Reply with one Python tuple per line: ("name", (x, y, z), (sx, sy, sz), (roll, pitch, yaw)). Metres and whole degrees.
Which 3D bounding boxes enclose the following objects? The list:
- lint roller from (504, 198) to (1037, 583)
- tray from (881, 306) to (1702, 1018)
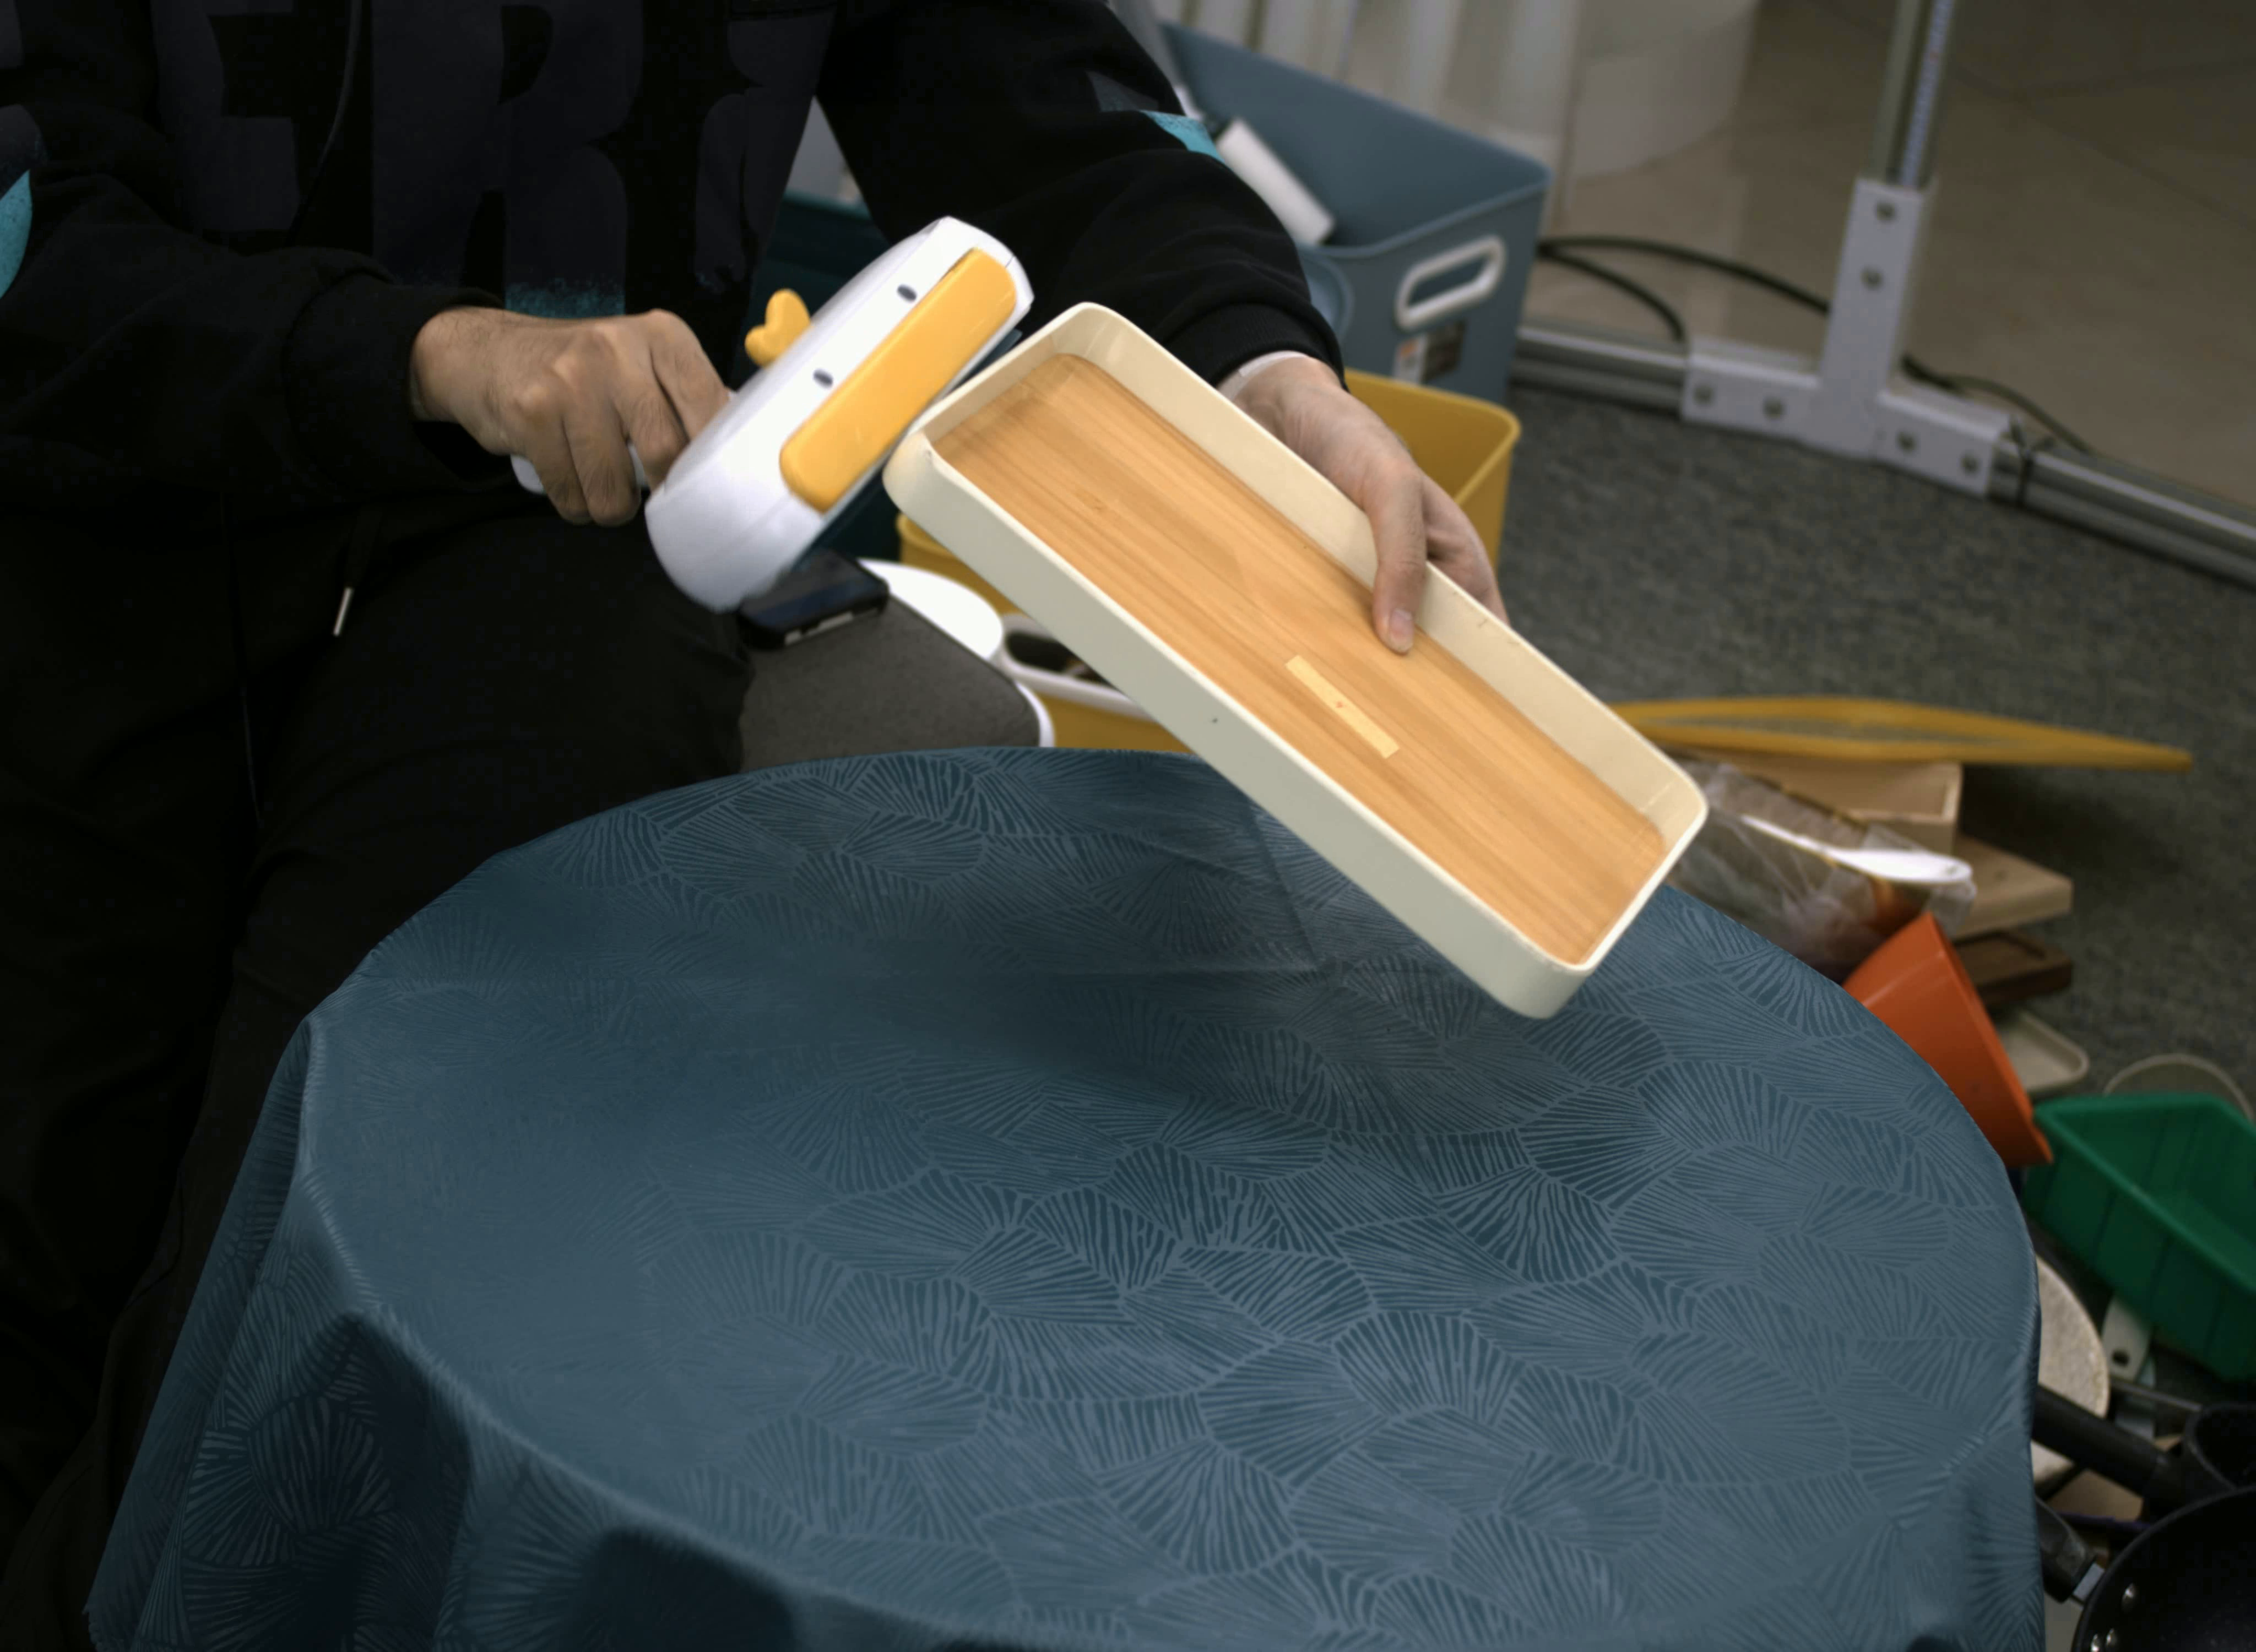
("lint roller", (-0.144, -0.144, 1.910), (0.193, 0.074, 0.193), (-21, 25, 40))
("tray", (0.062, -0.062, 1.883), (0.300, 0.027, 0.191), (40, 27, 5))
